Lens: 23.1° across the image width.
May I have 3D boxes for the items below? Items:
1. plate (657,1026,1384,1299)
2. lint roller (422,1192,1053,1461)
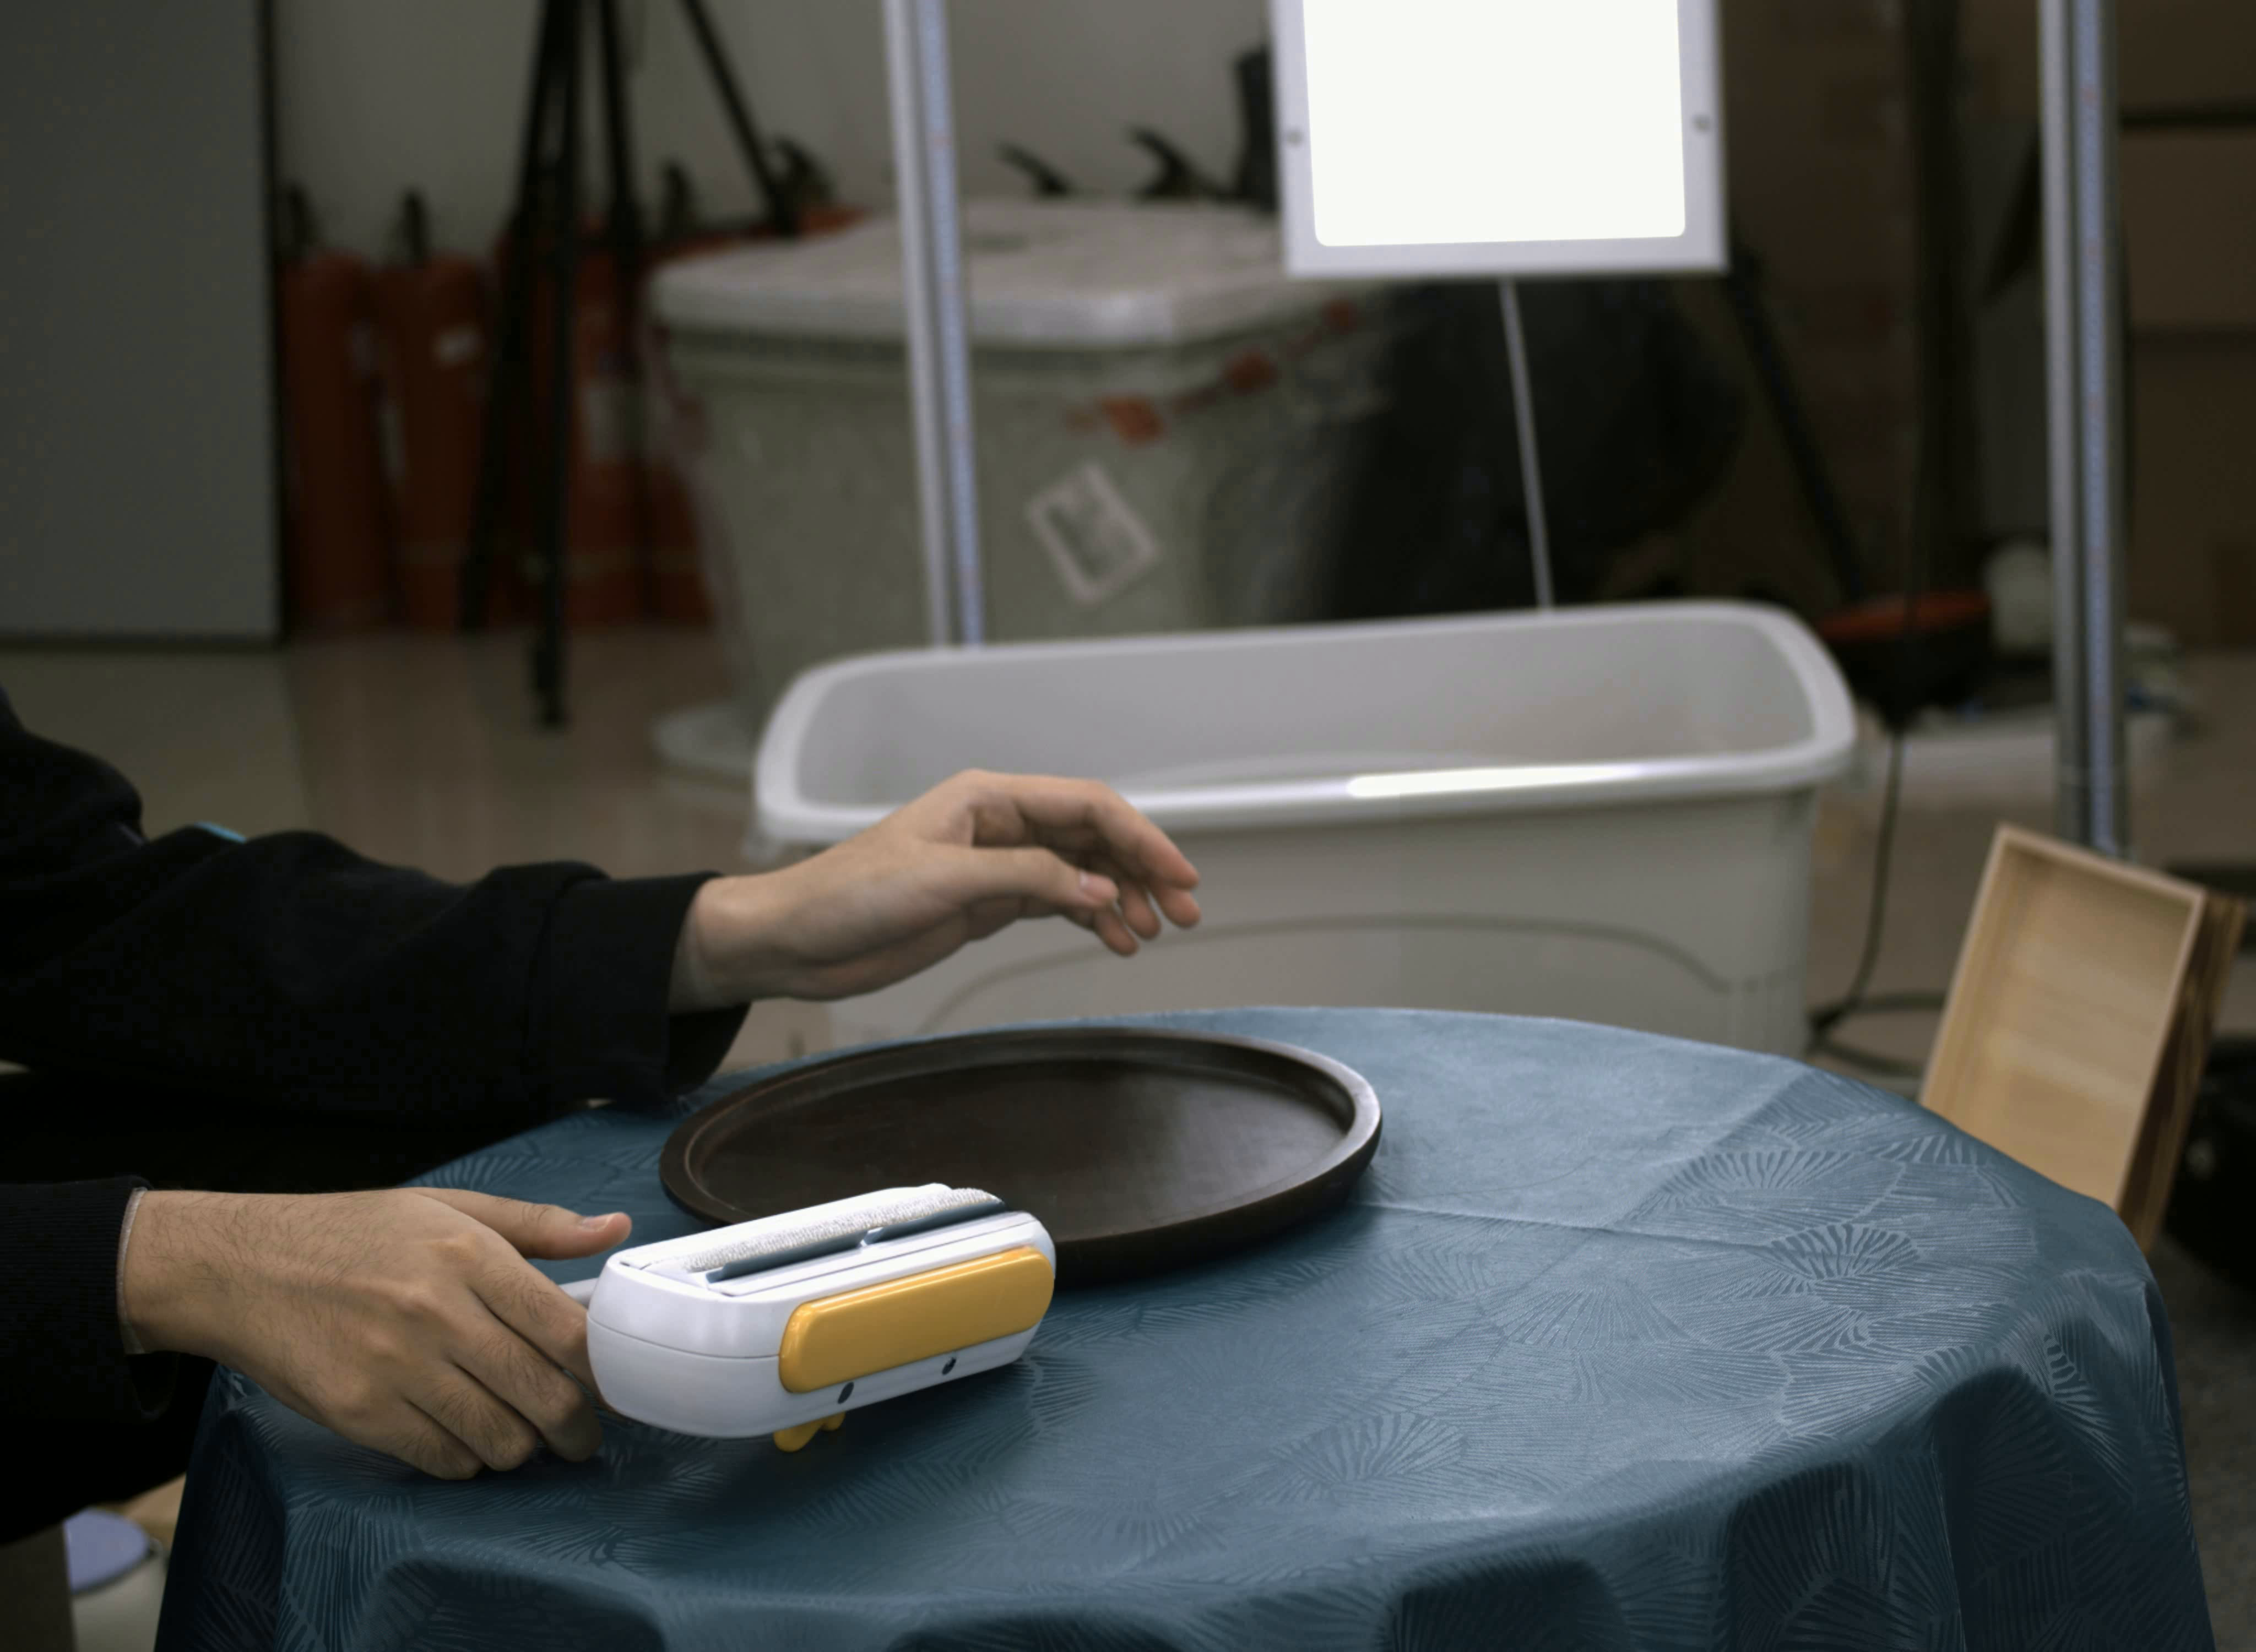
[{"bbox_3d":[-0.037,0.116,1.907,0.254,0.029,0.254,-6,13,0],"label":"plate"},{"bbox_3d":[-0.142,0.151,1.706,0.196,0.074,0.188,3,10,36],"label":"lint roller"}]
